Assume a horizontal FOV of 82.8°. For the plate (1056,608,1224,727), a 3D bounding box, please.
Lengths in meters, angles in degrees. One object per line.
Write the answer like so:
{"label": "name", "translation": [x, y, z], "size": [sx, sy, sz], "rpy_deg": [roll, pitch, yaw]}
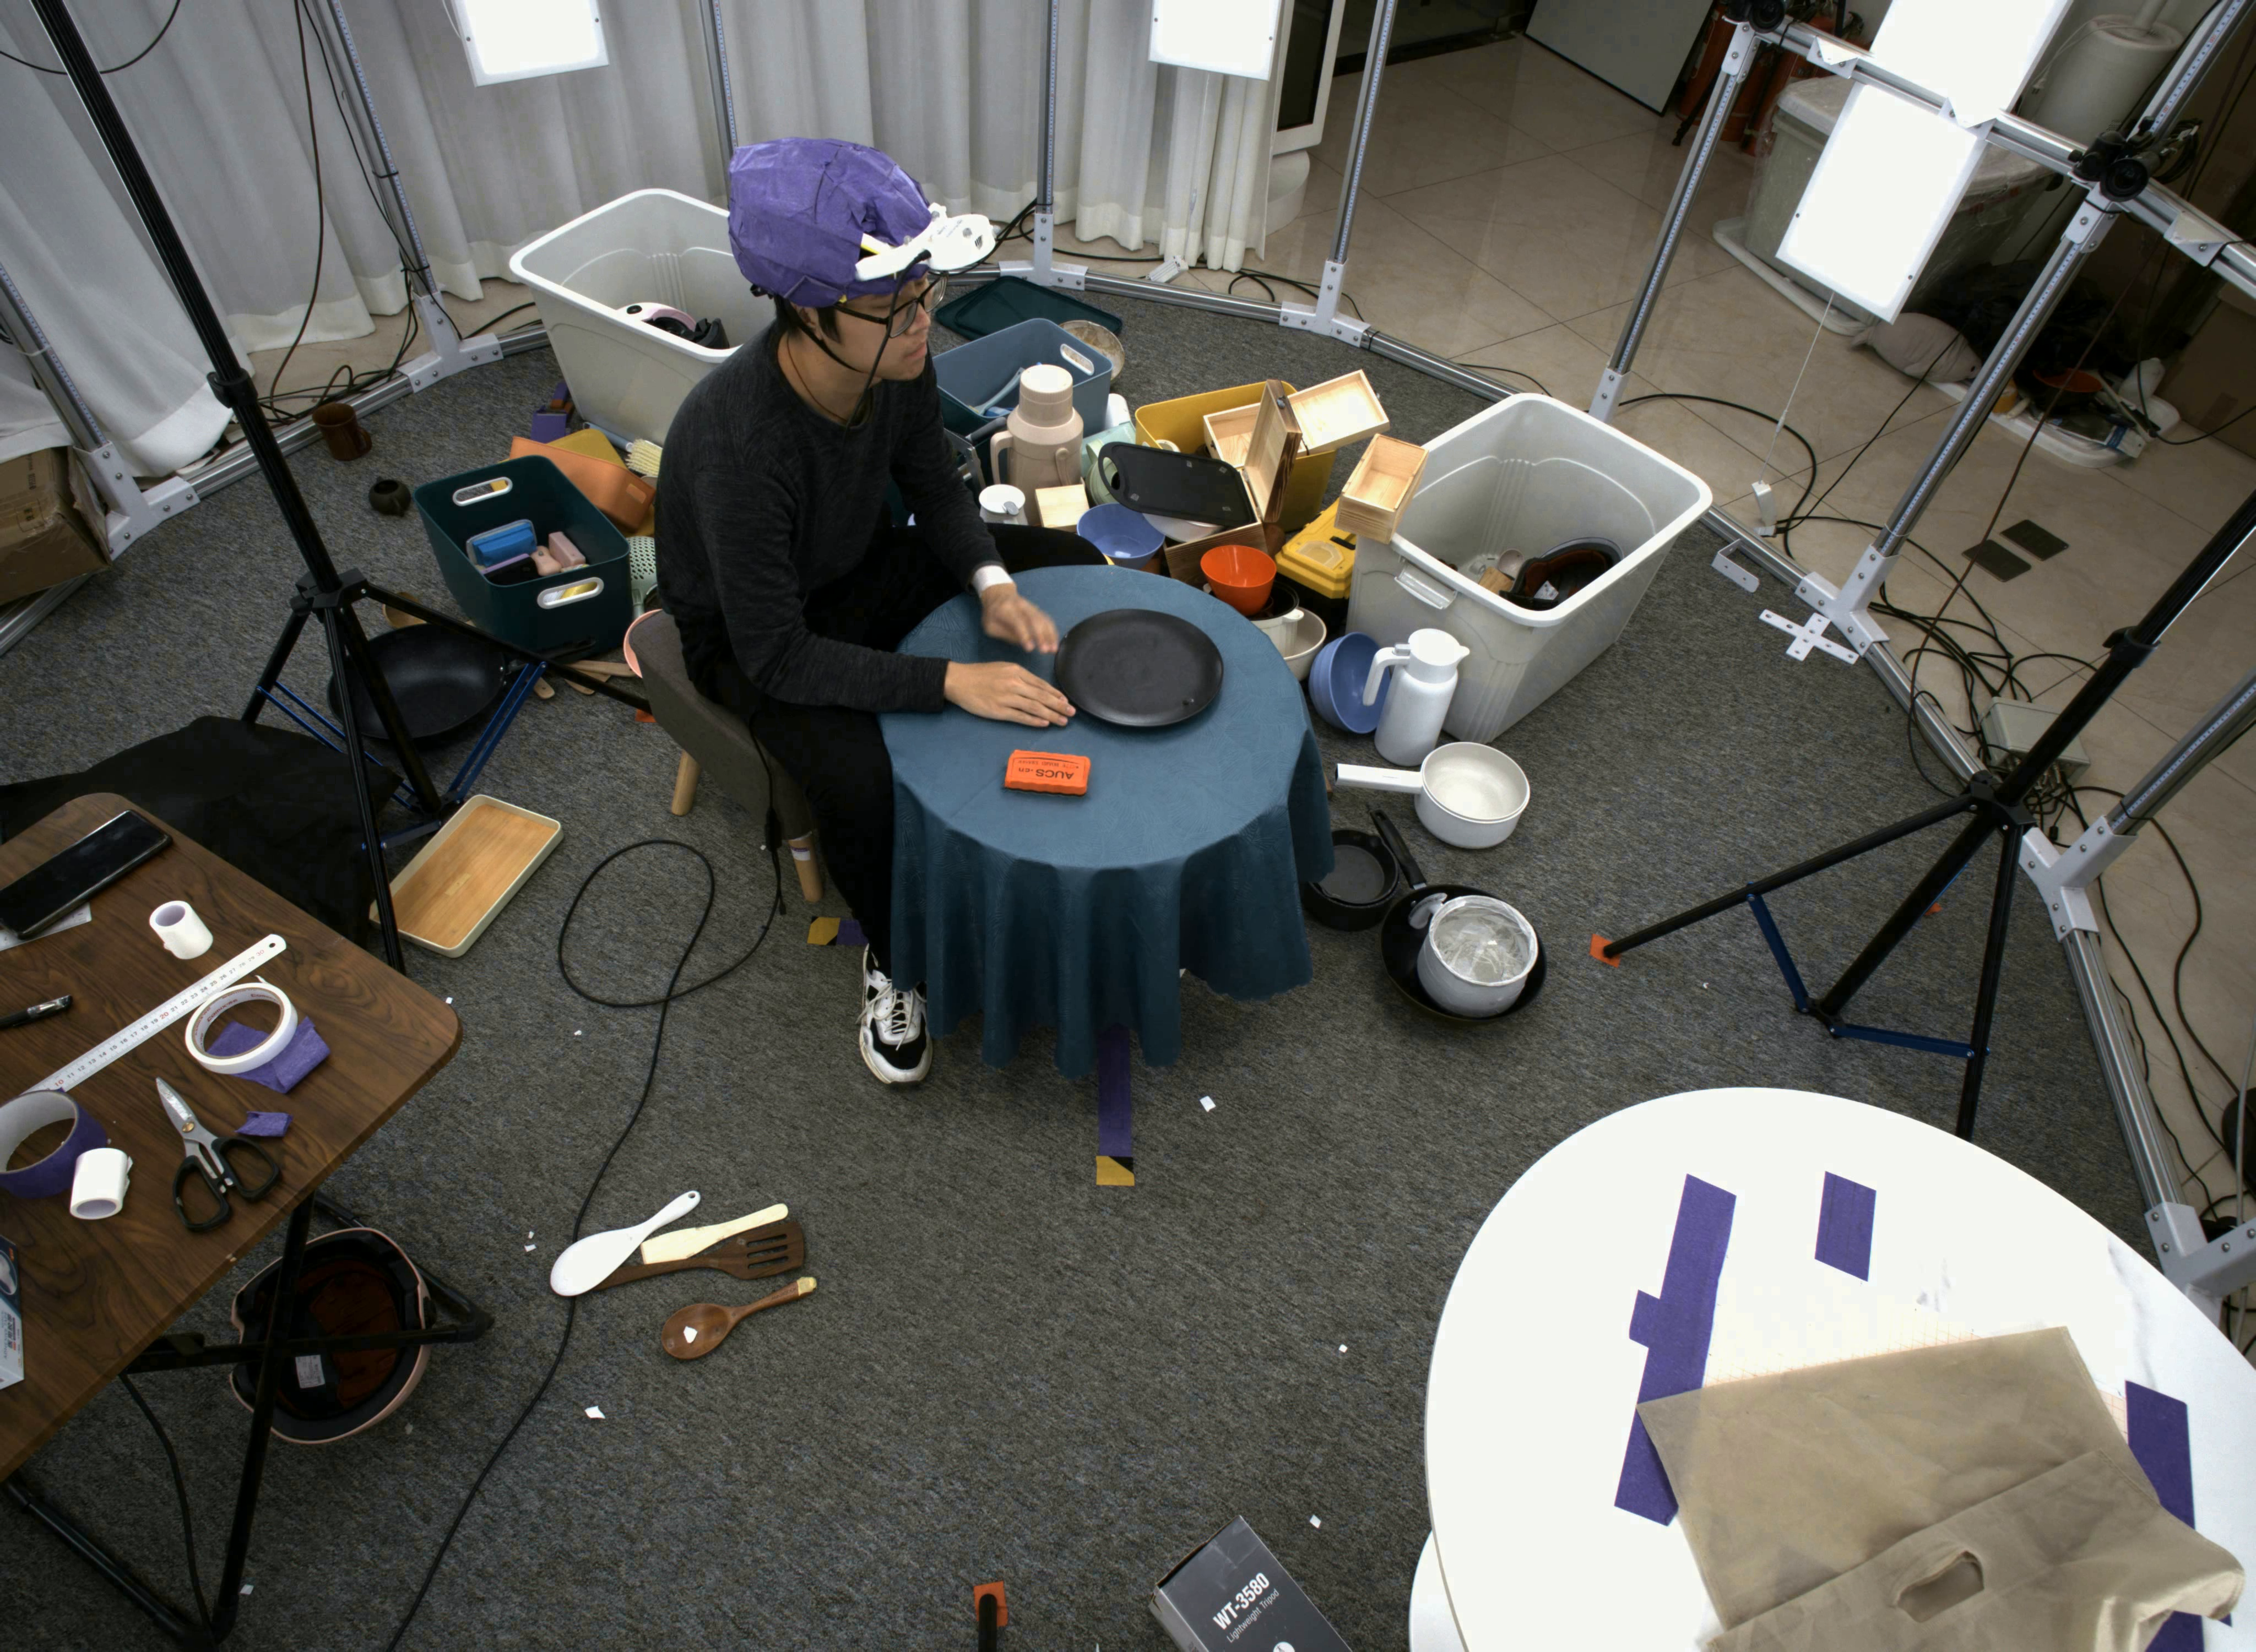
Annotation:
{"label": "plate", "translation": [0.017, -0.227, 1.852], "size": [0.244, 0.023, 0.250], "rpy_deg": [2, 49, -2]}

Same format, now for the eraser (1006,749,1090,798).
{"label": "eraser", "translation": [-0.107, -0.071, 1.709], "size": [0.108, 0.022, 0.060], "rpy_deg": [7, 47, 2]}
